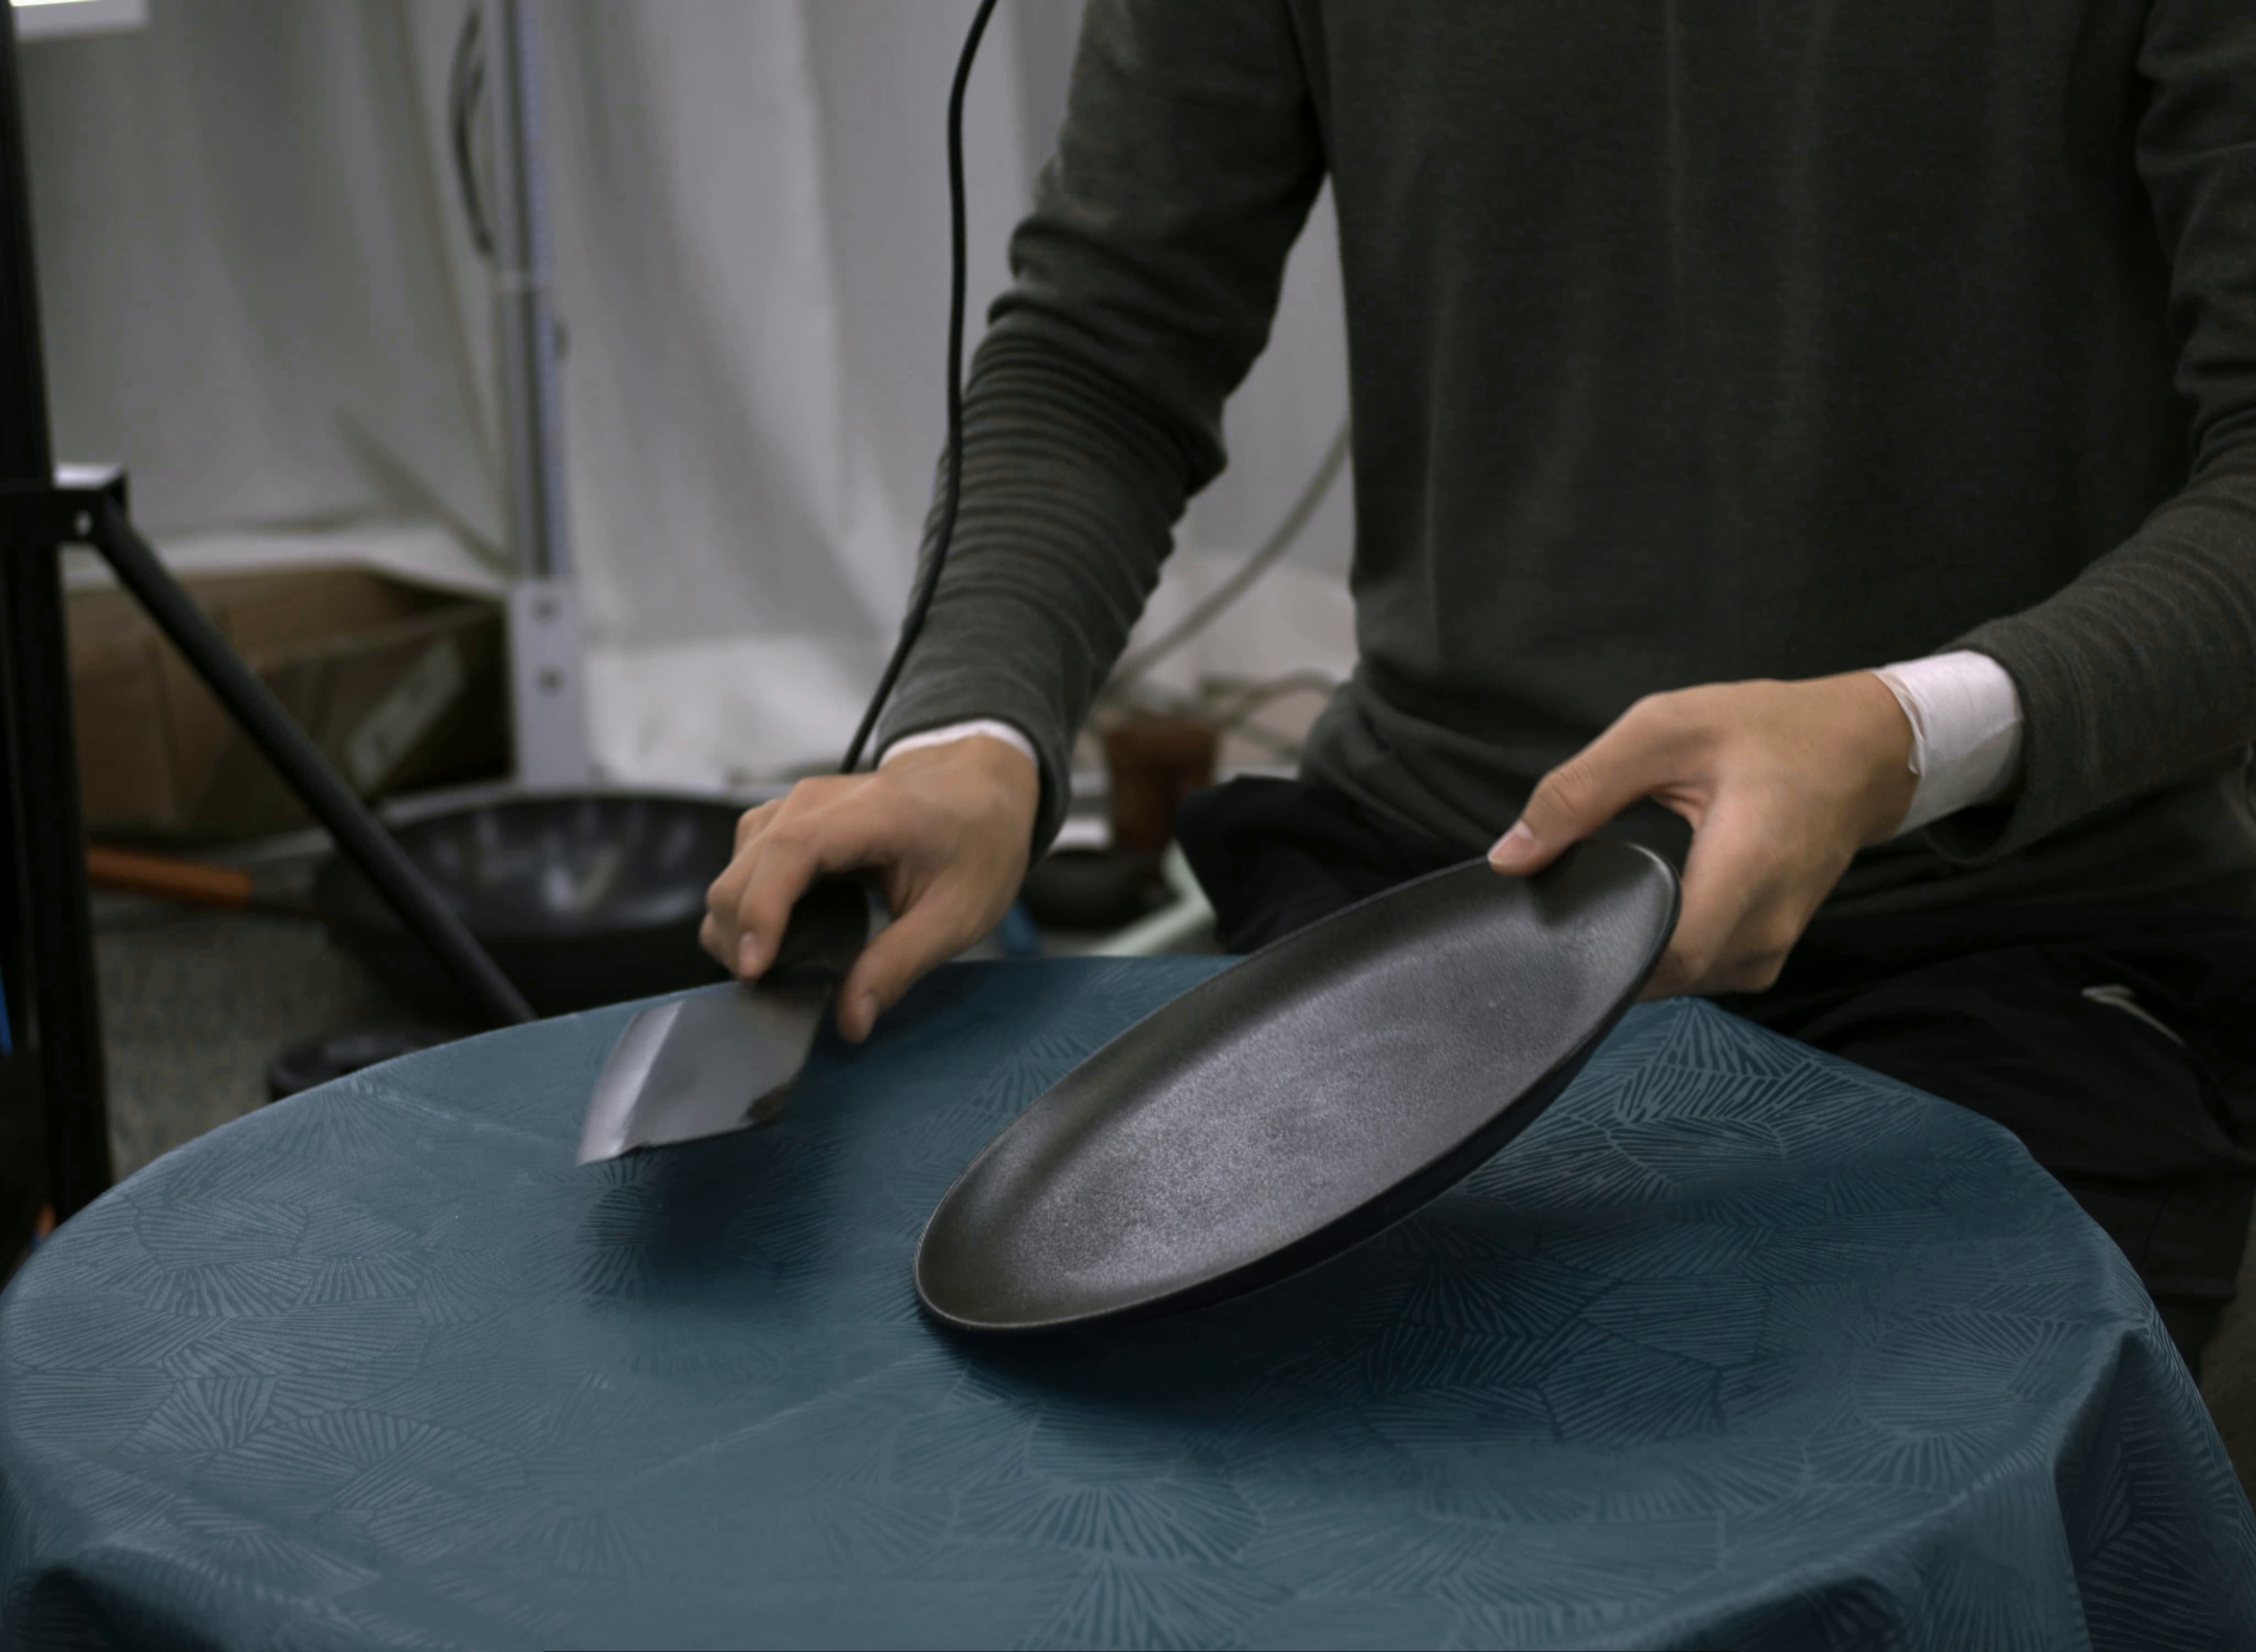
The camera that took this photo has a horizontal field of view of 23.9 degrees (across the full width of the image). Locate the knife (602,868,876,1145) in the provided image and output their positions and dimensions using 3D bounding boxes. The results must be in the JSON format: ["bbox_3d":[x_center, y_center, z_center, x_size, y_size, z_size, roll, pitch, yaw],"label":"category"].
[{"bbox_3d":[-0.116,0.055,1.646,0.081,0.021,0.302,-12,11,8],"label":"knife"}]

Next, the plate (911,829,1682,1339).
[{"bbox_3d":[0.050,0.077,1.478,0.245,0.023,0.246,-29,16,7],"label":"plate"}]
